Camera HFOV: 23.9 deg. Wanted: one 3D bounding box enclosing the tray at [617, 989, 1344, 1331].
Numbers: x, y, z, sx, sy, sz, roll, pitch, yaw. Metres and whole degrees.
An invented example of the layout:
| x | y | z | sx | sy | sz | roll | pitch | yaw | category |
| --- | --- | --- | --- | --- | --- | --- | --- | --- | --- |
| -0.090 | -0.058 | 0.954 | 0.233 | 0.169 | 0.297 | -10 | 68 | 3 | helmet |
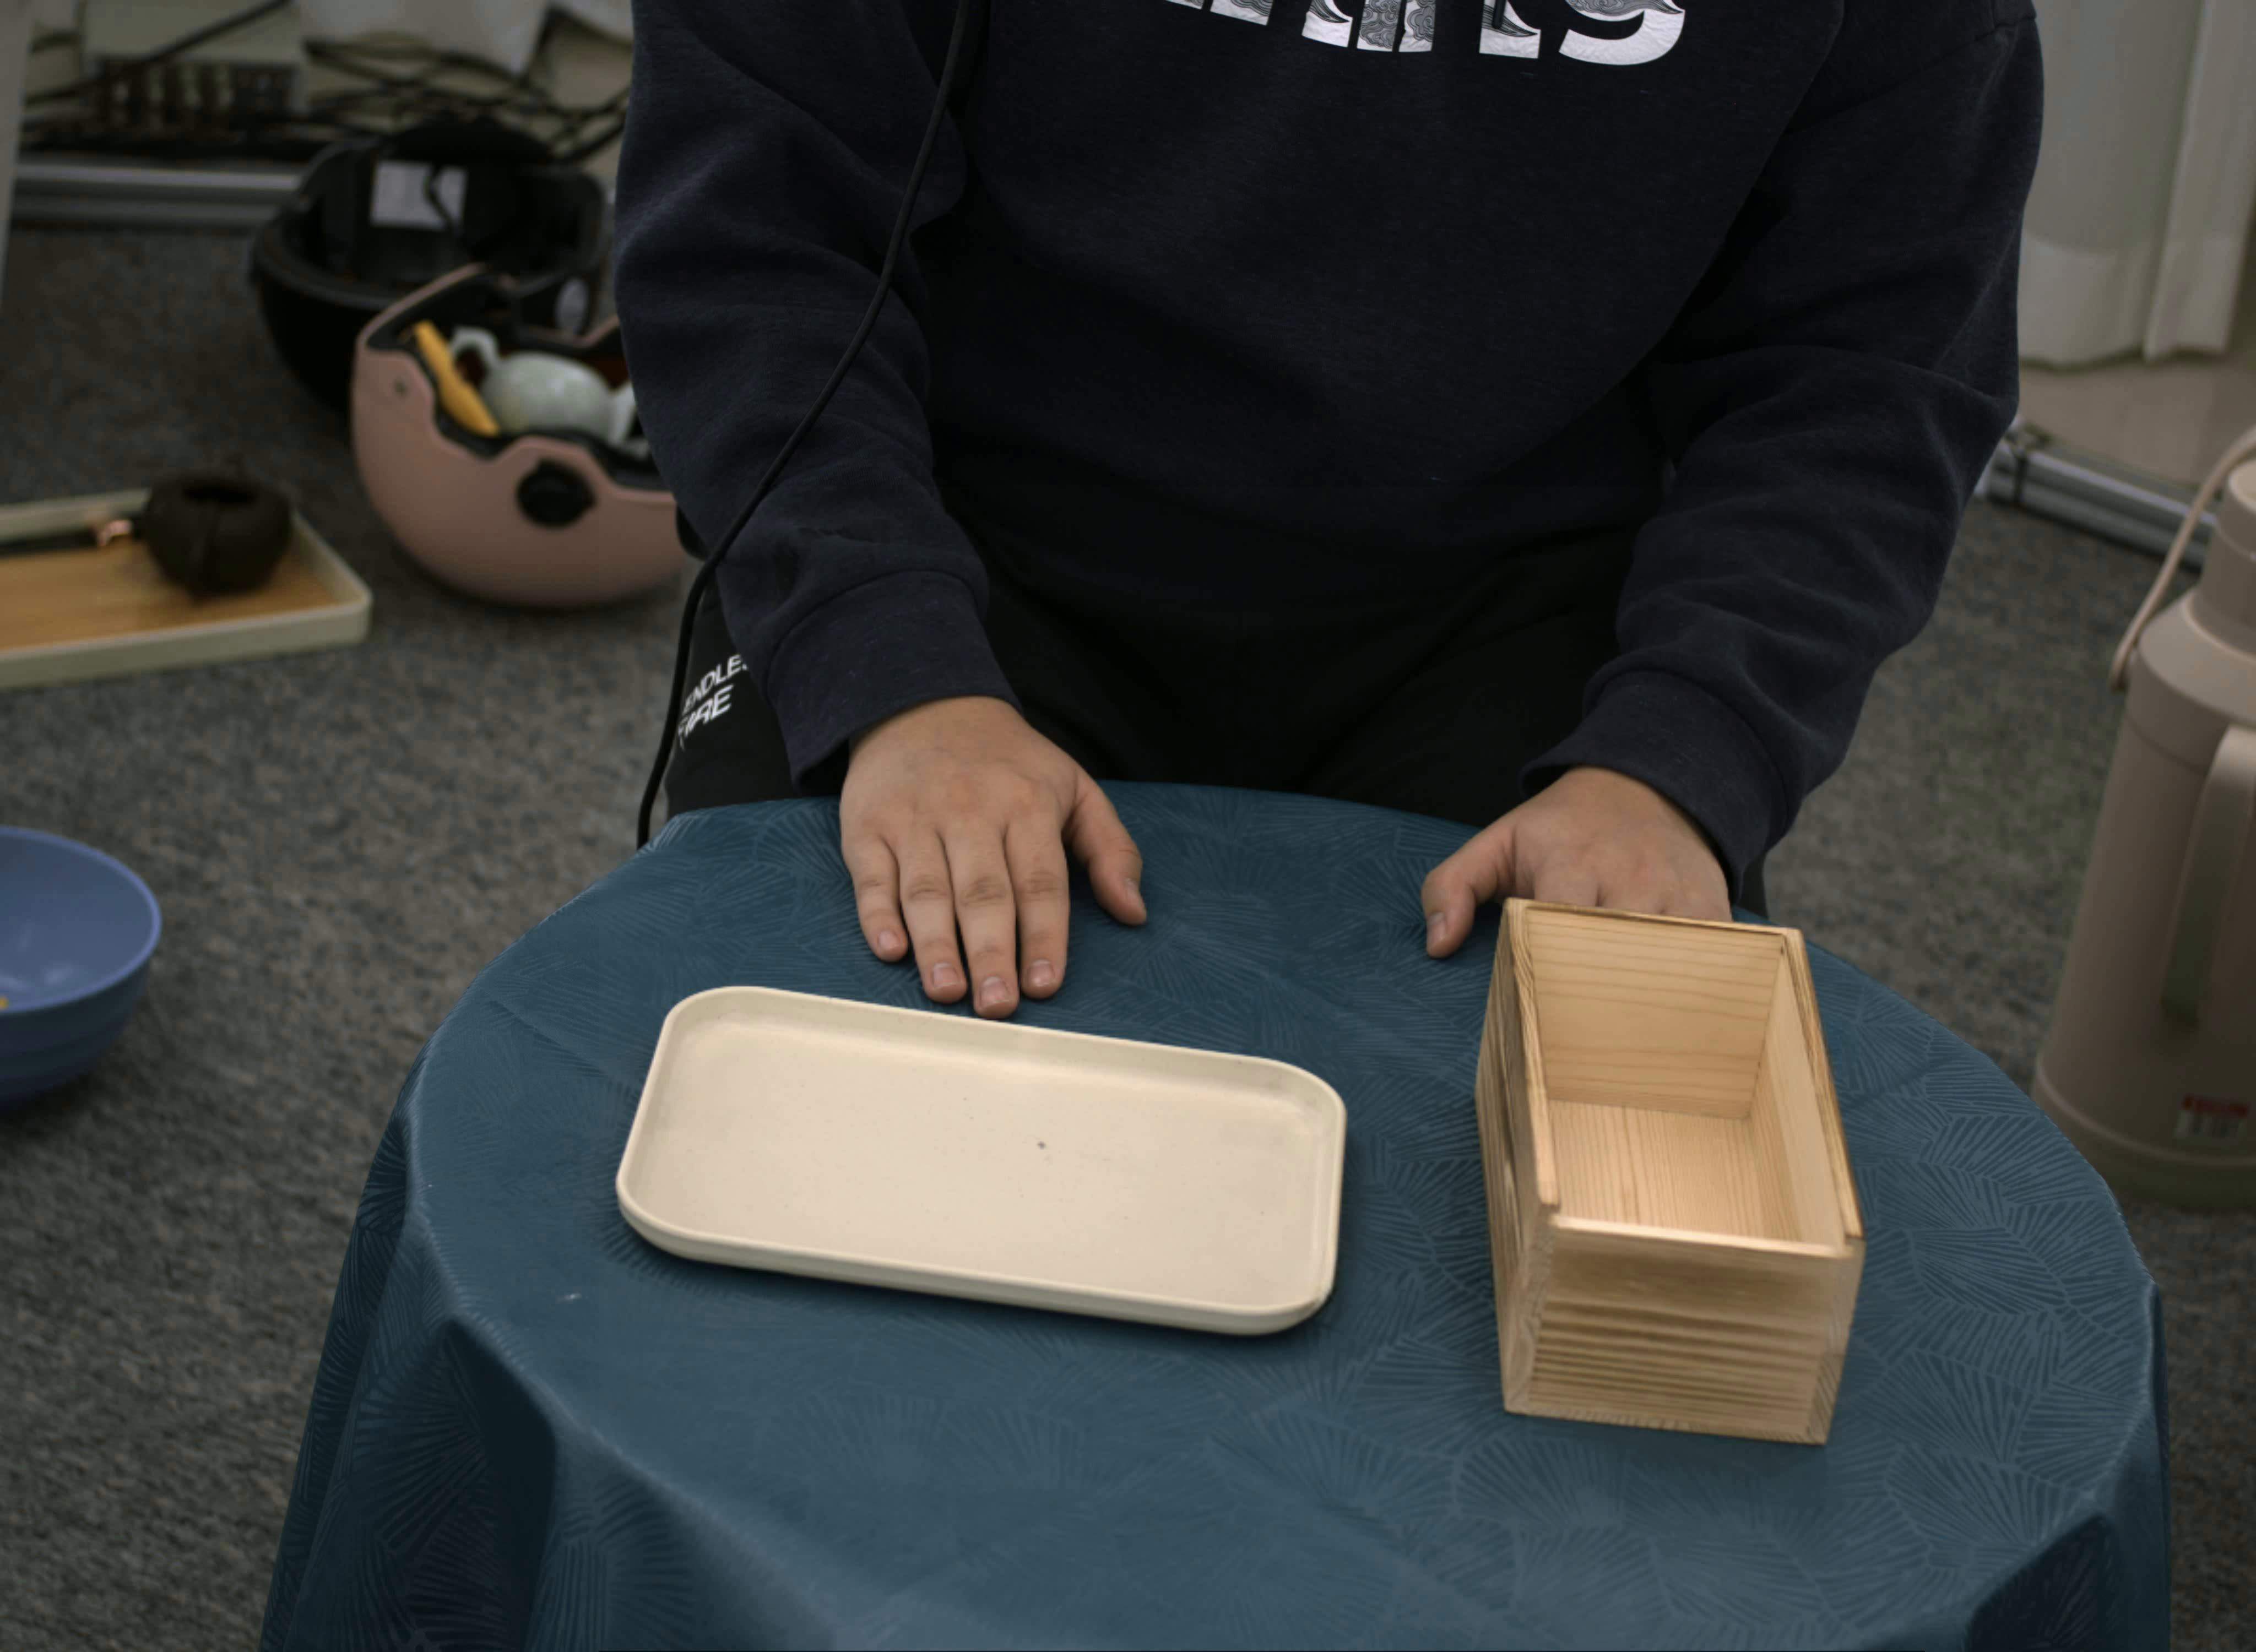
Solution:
| x | y | z | sx | sy | sz | roll | pitch | yaw | category |
| --- | --- | --- | --- | --- | --- | --- | --- | --- | --- |
| -0.047 | 0.113 | 1.796 | 0.239 | 0.017 | 0.172 | 8 | 26 | 1 | tray |

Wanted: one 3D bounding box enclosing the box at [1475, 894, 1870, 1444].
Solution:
| x | y | z | sx | sy | sz | roll | pitch | yaw | category |
| --- | --- | --- | --- | --- | --- | --- | --- | --- | --- |
| 0.178 | 0.111 | 1.784 | 0.107 | 0.080 | 0.212 | 6 | 26 | -3 | box |
